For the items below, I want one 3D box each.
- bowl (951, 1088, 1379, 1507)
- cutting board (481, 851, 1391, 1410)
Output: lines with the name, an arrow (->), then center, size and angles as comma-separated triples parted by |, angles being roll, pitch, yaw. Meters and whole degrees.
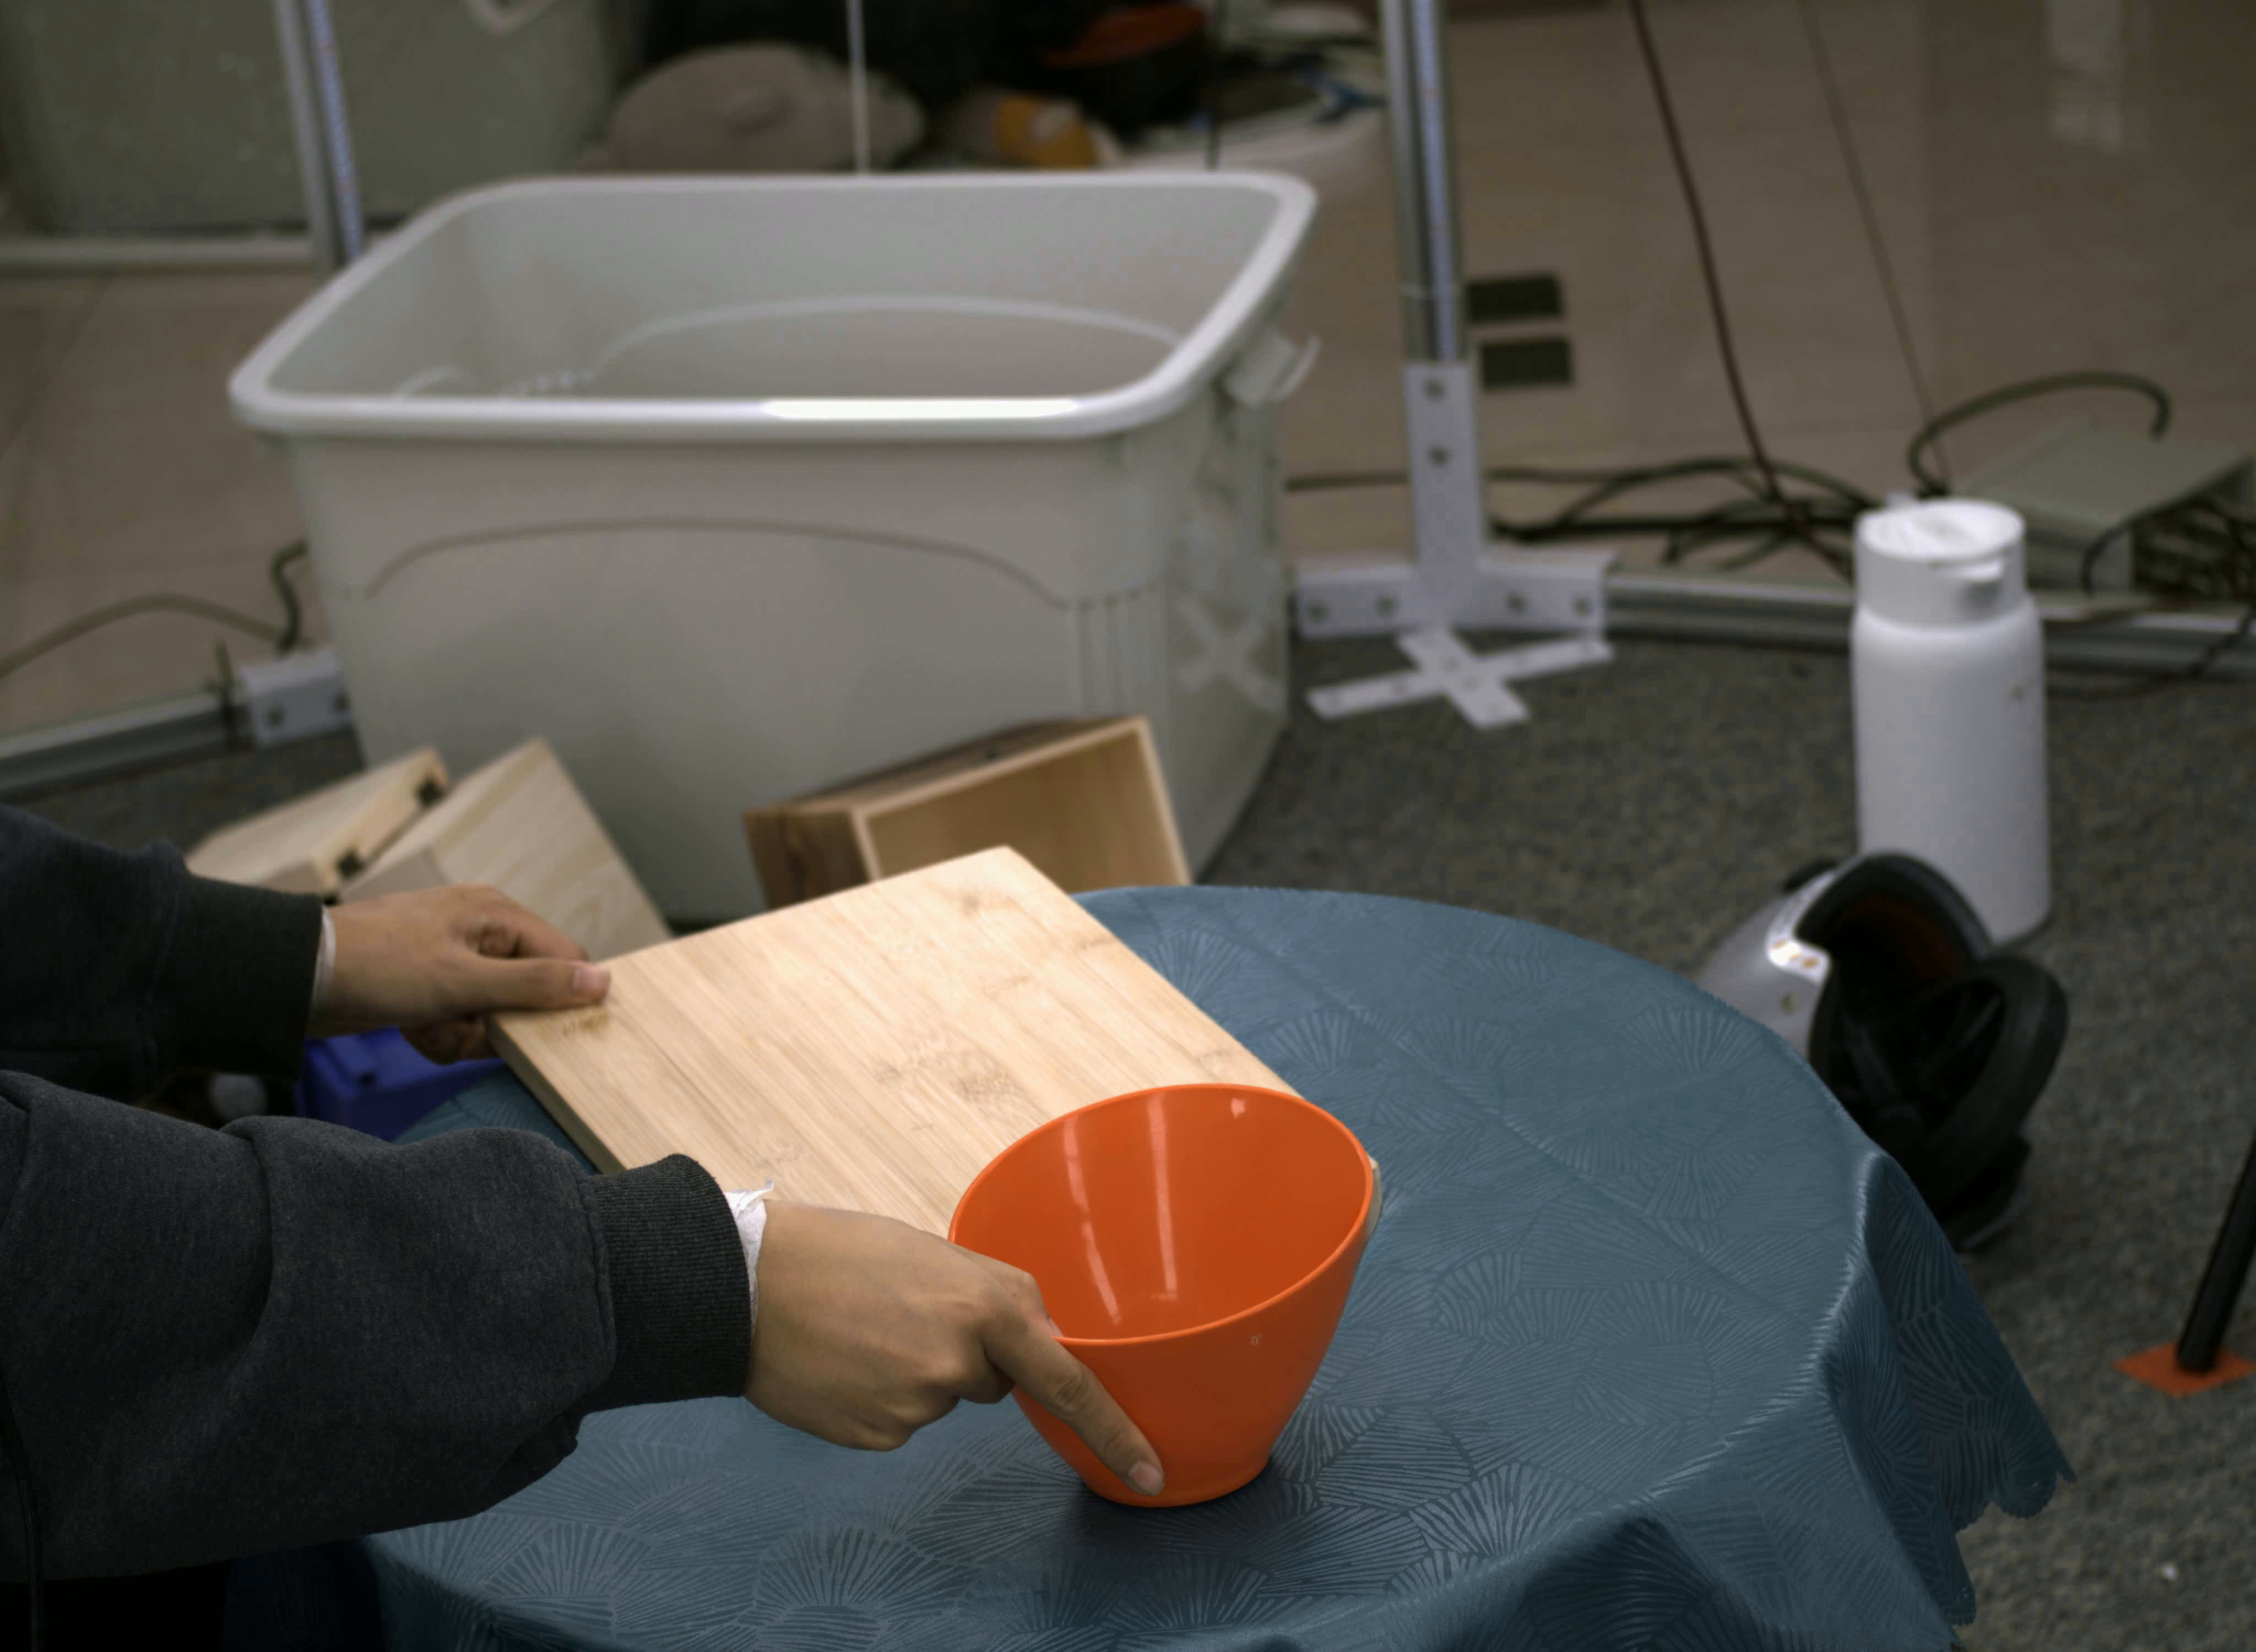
bowl -> 0.015, 0.168, 1.954 | 0.148, 0.106, 0.146 | -4, 23, 2
cutting board -> -0.082, 0.109, 2.204 | 0.249, 0.024, 0.344 | -17, 28, -21
